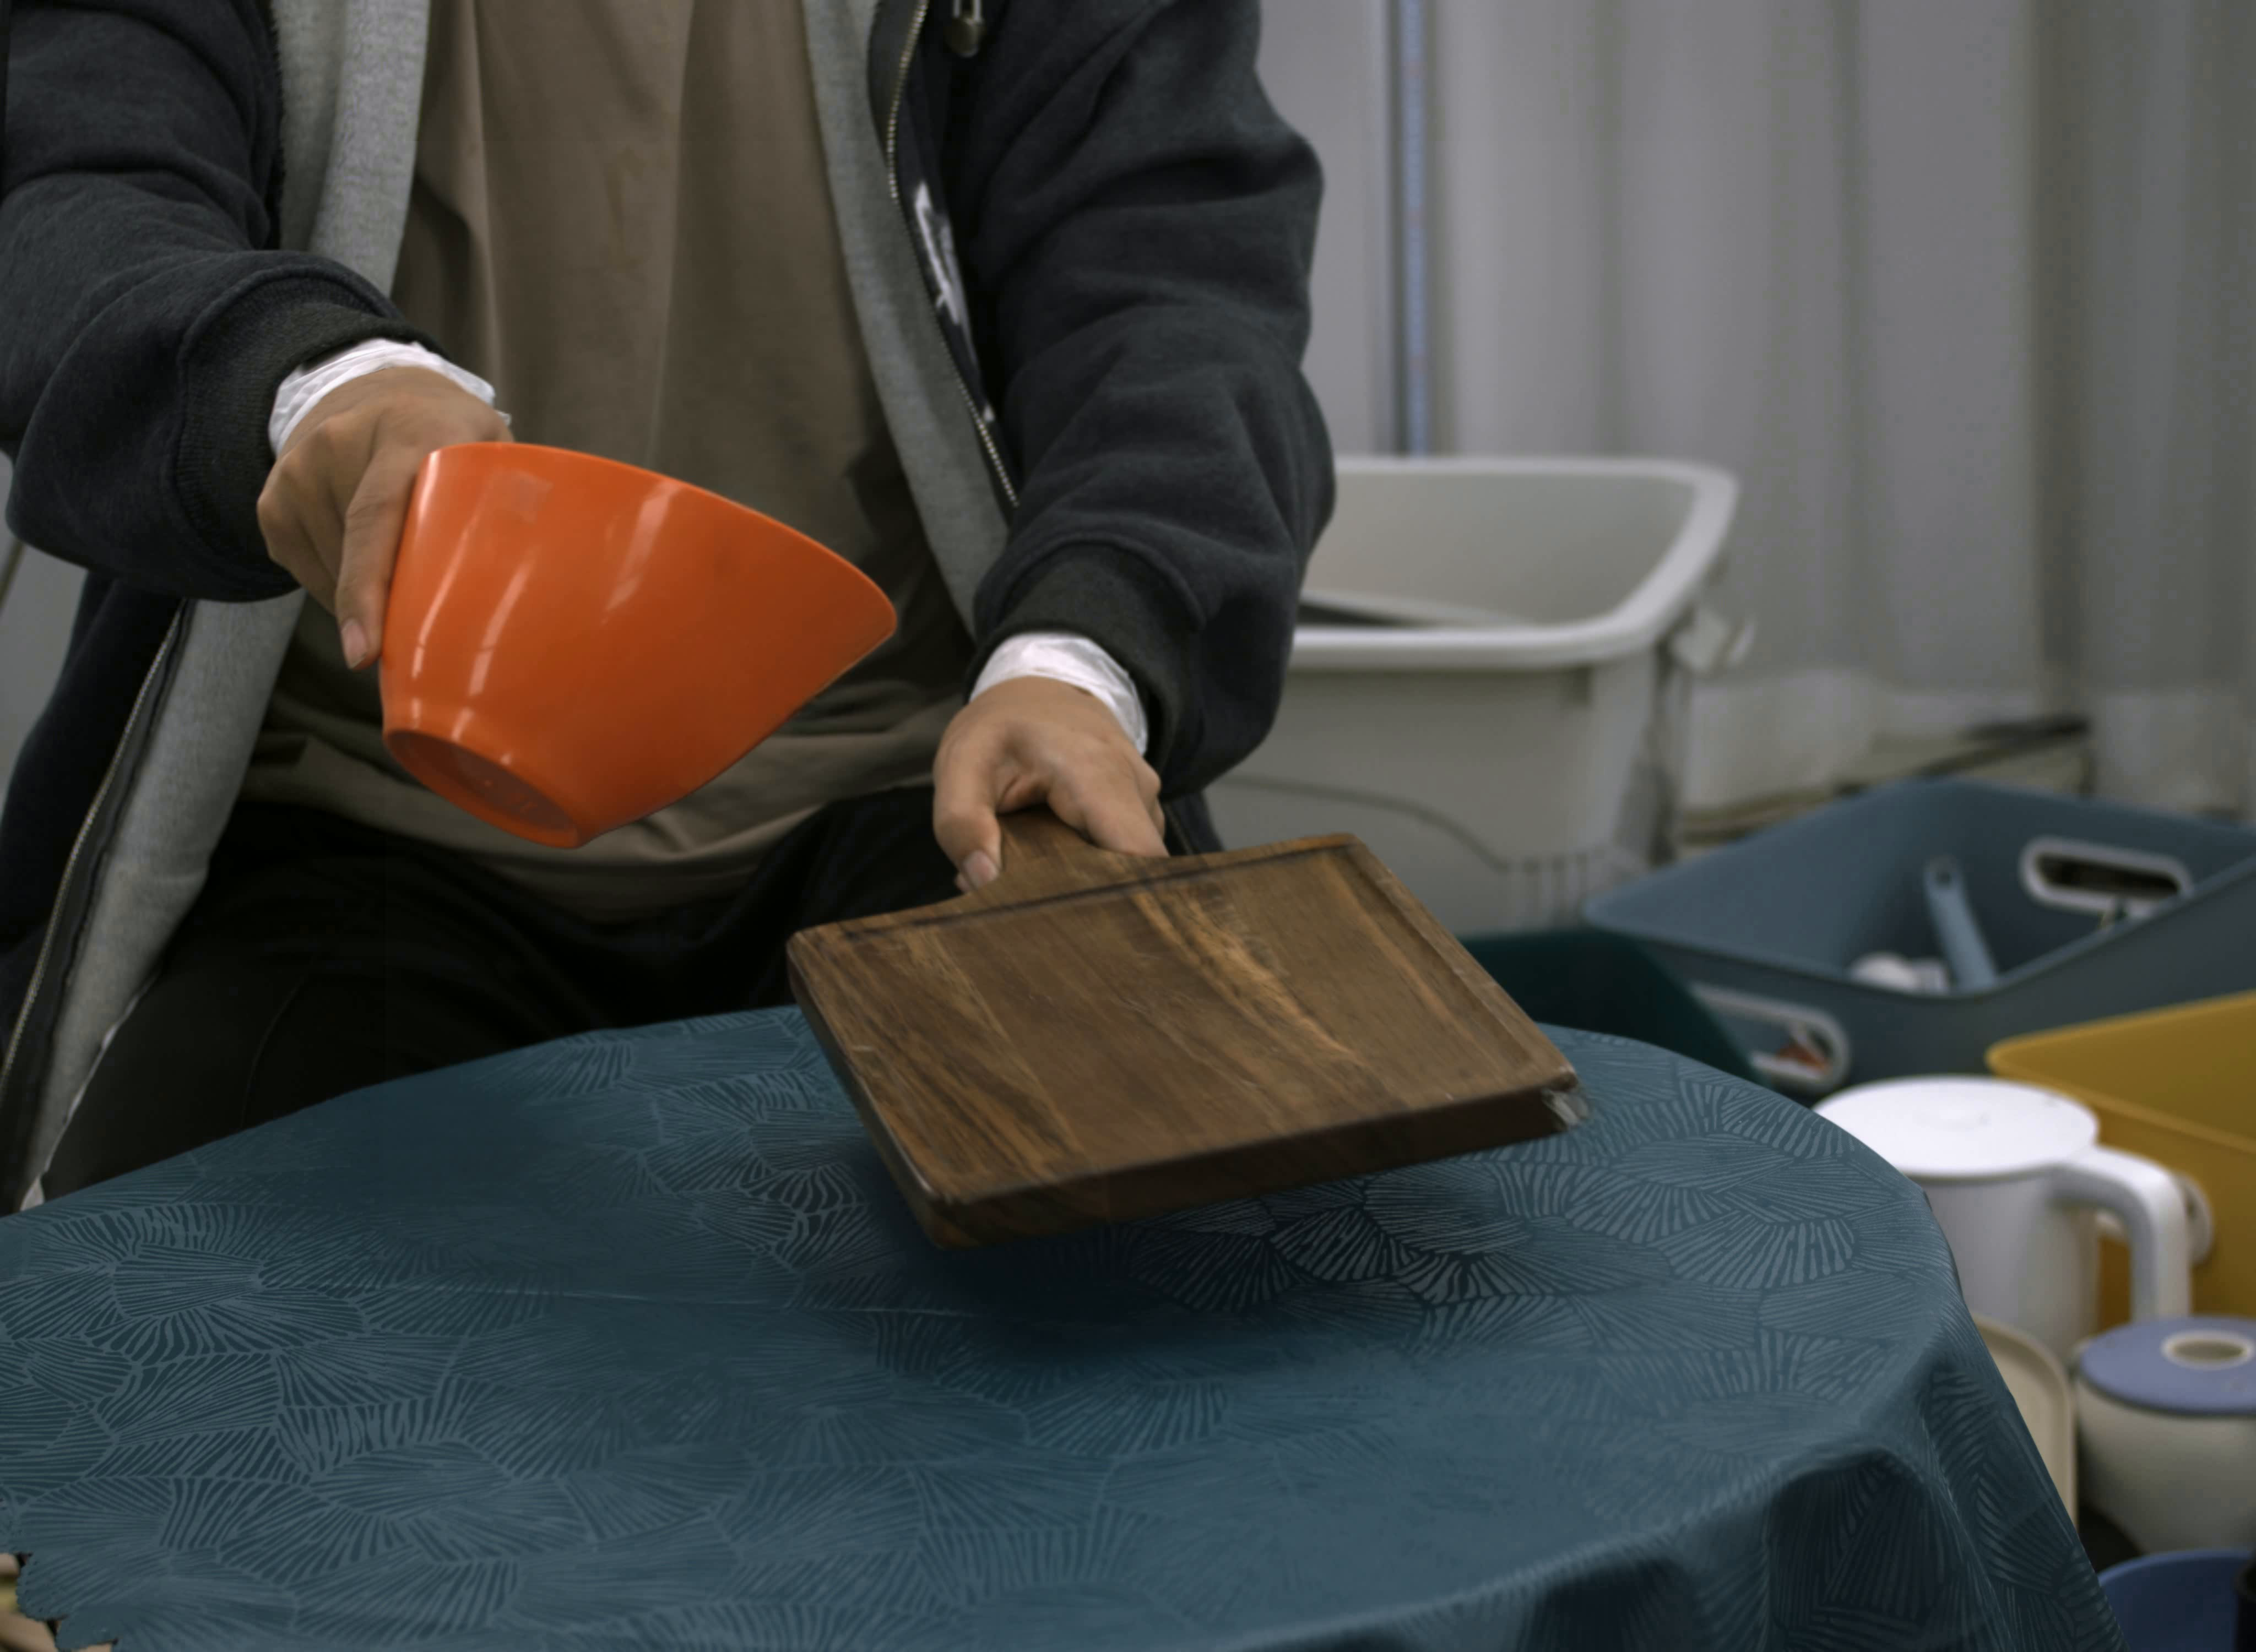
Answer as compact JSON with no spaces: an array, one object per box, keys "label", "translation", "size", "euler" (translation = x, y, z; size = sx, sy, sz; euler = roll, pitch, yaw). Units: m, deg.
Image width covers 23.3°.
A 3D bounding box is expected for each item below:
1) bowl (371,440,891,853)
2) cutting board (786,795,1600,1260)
[{"label":"bowl","translation":[-0.158,-0.047,1.618],"size":[0.148,0.105,0.147],"euler":[25,-17,8]},{"label":"cutting board","translation":[0.002,0.049,1.729],"size":[0.200,0.023,0.355],"euler":[-10,19,-11]}]
